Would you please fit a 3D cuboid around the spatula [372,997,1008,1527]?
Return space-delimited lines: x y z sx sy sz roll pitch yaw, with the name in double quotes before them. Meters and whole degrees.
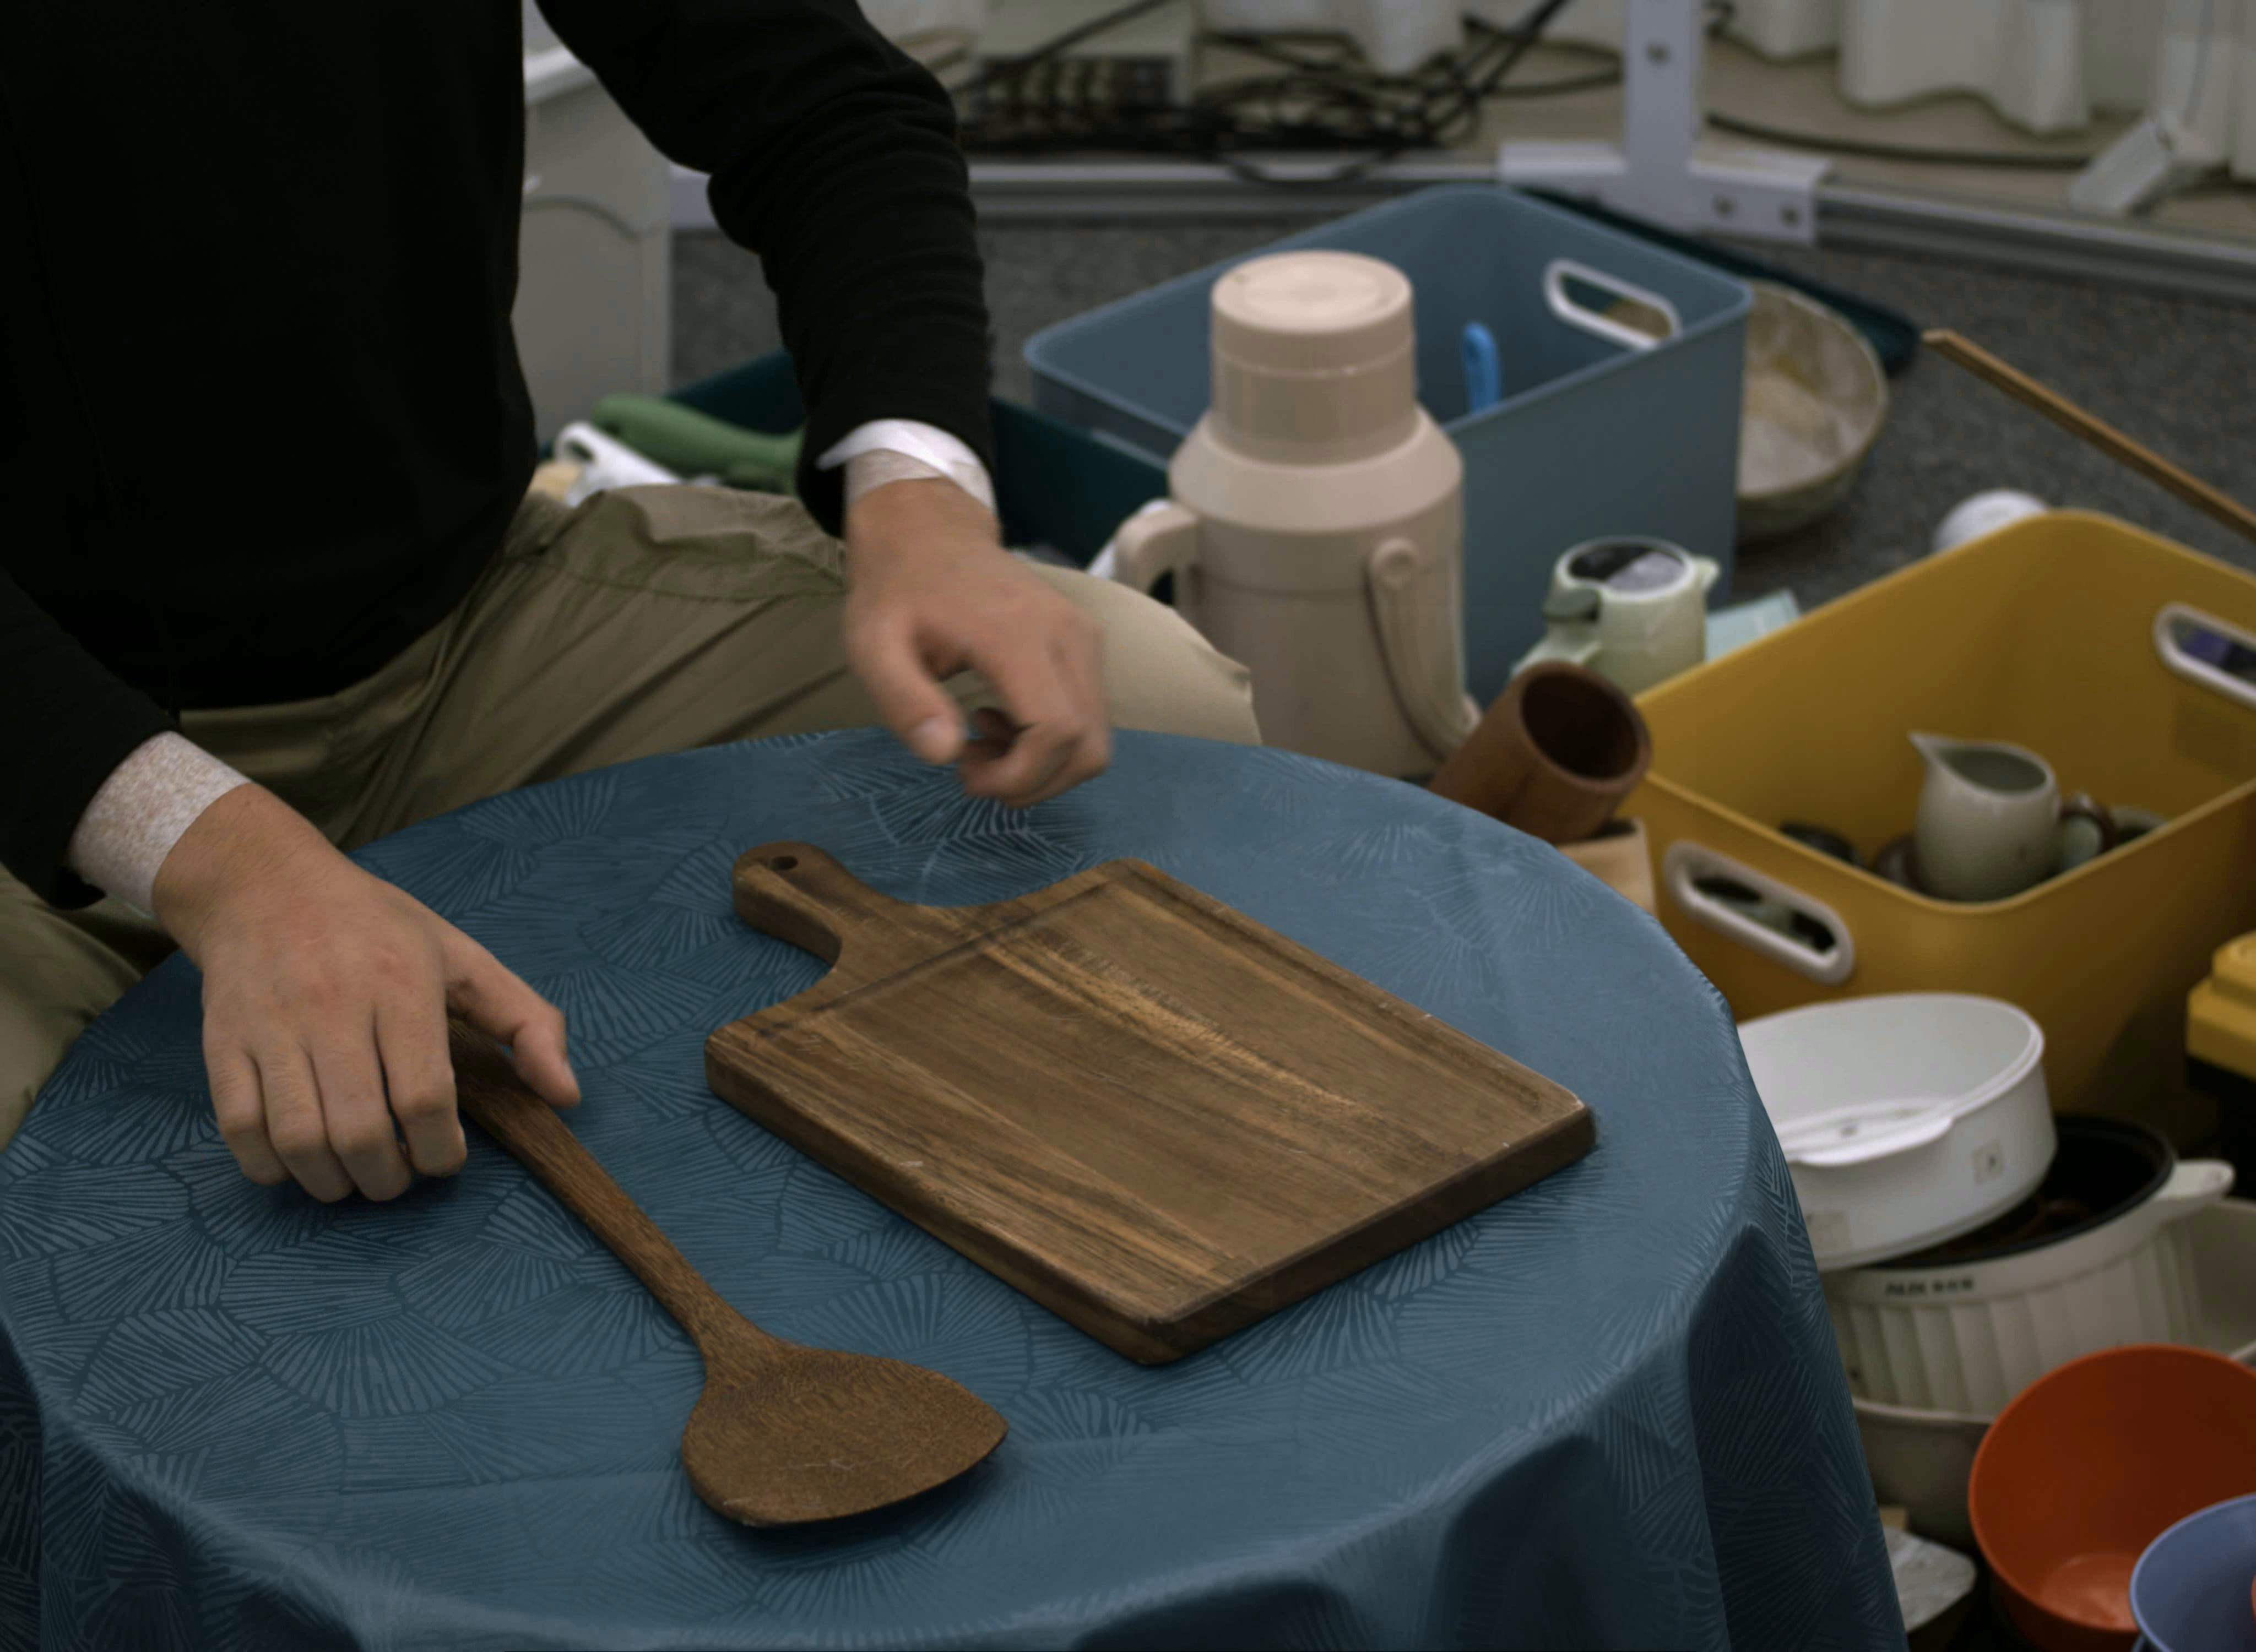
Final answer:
"spatula" -0.165 0.133 1.838 0.096 0.015 0.387 -17 30 -25

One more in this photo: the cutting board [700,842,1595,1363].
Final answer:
"cutting board" -0.027 0.074 1.934 0.203 0.023 0.352 -23 33 -34
